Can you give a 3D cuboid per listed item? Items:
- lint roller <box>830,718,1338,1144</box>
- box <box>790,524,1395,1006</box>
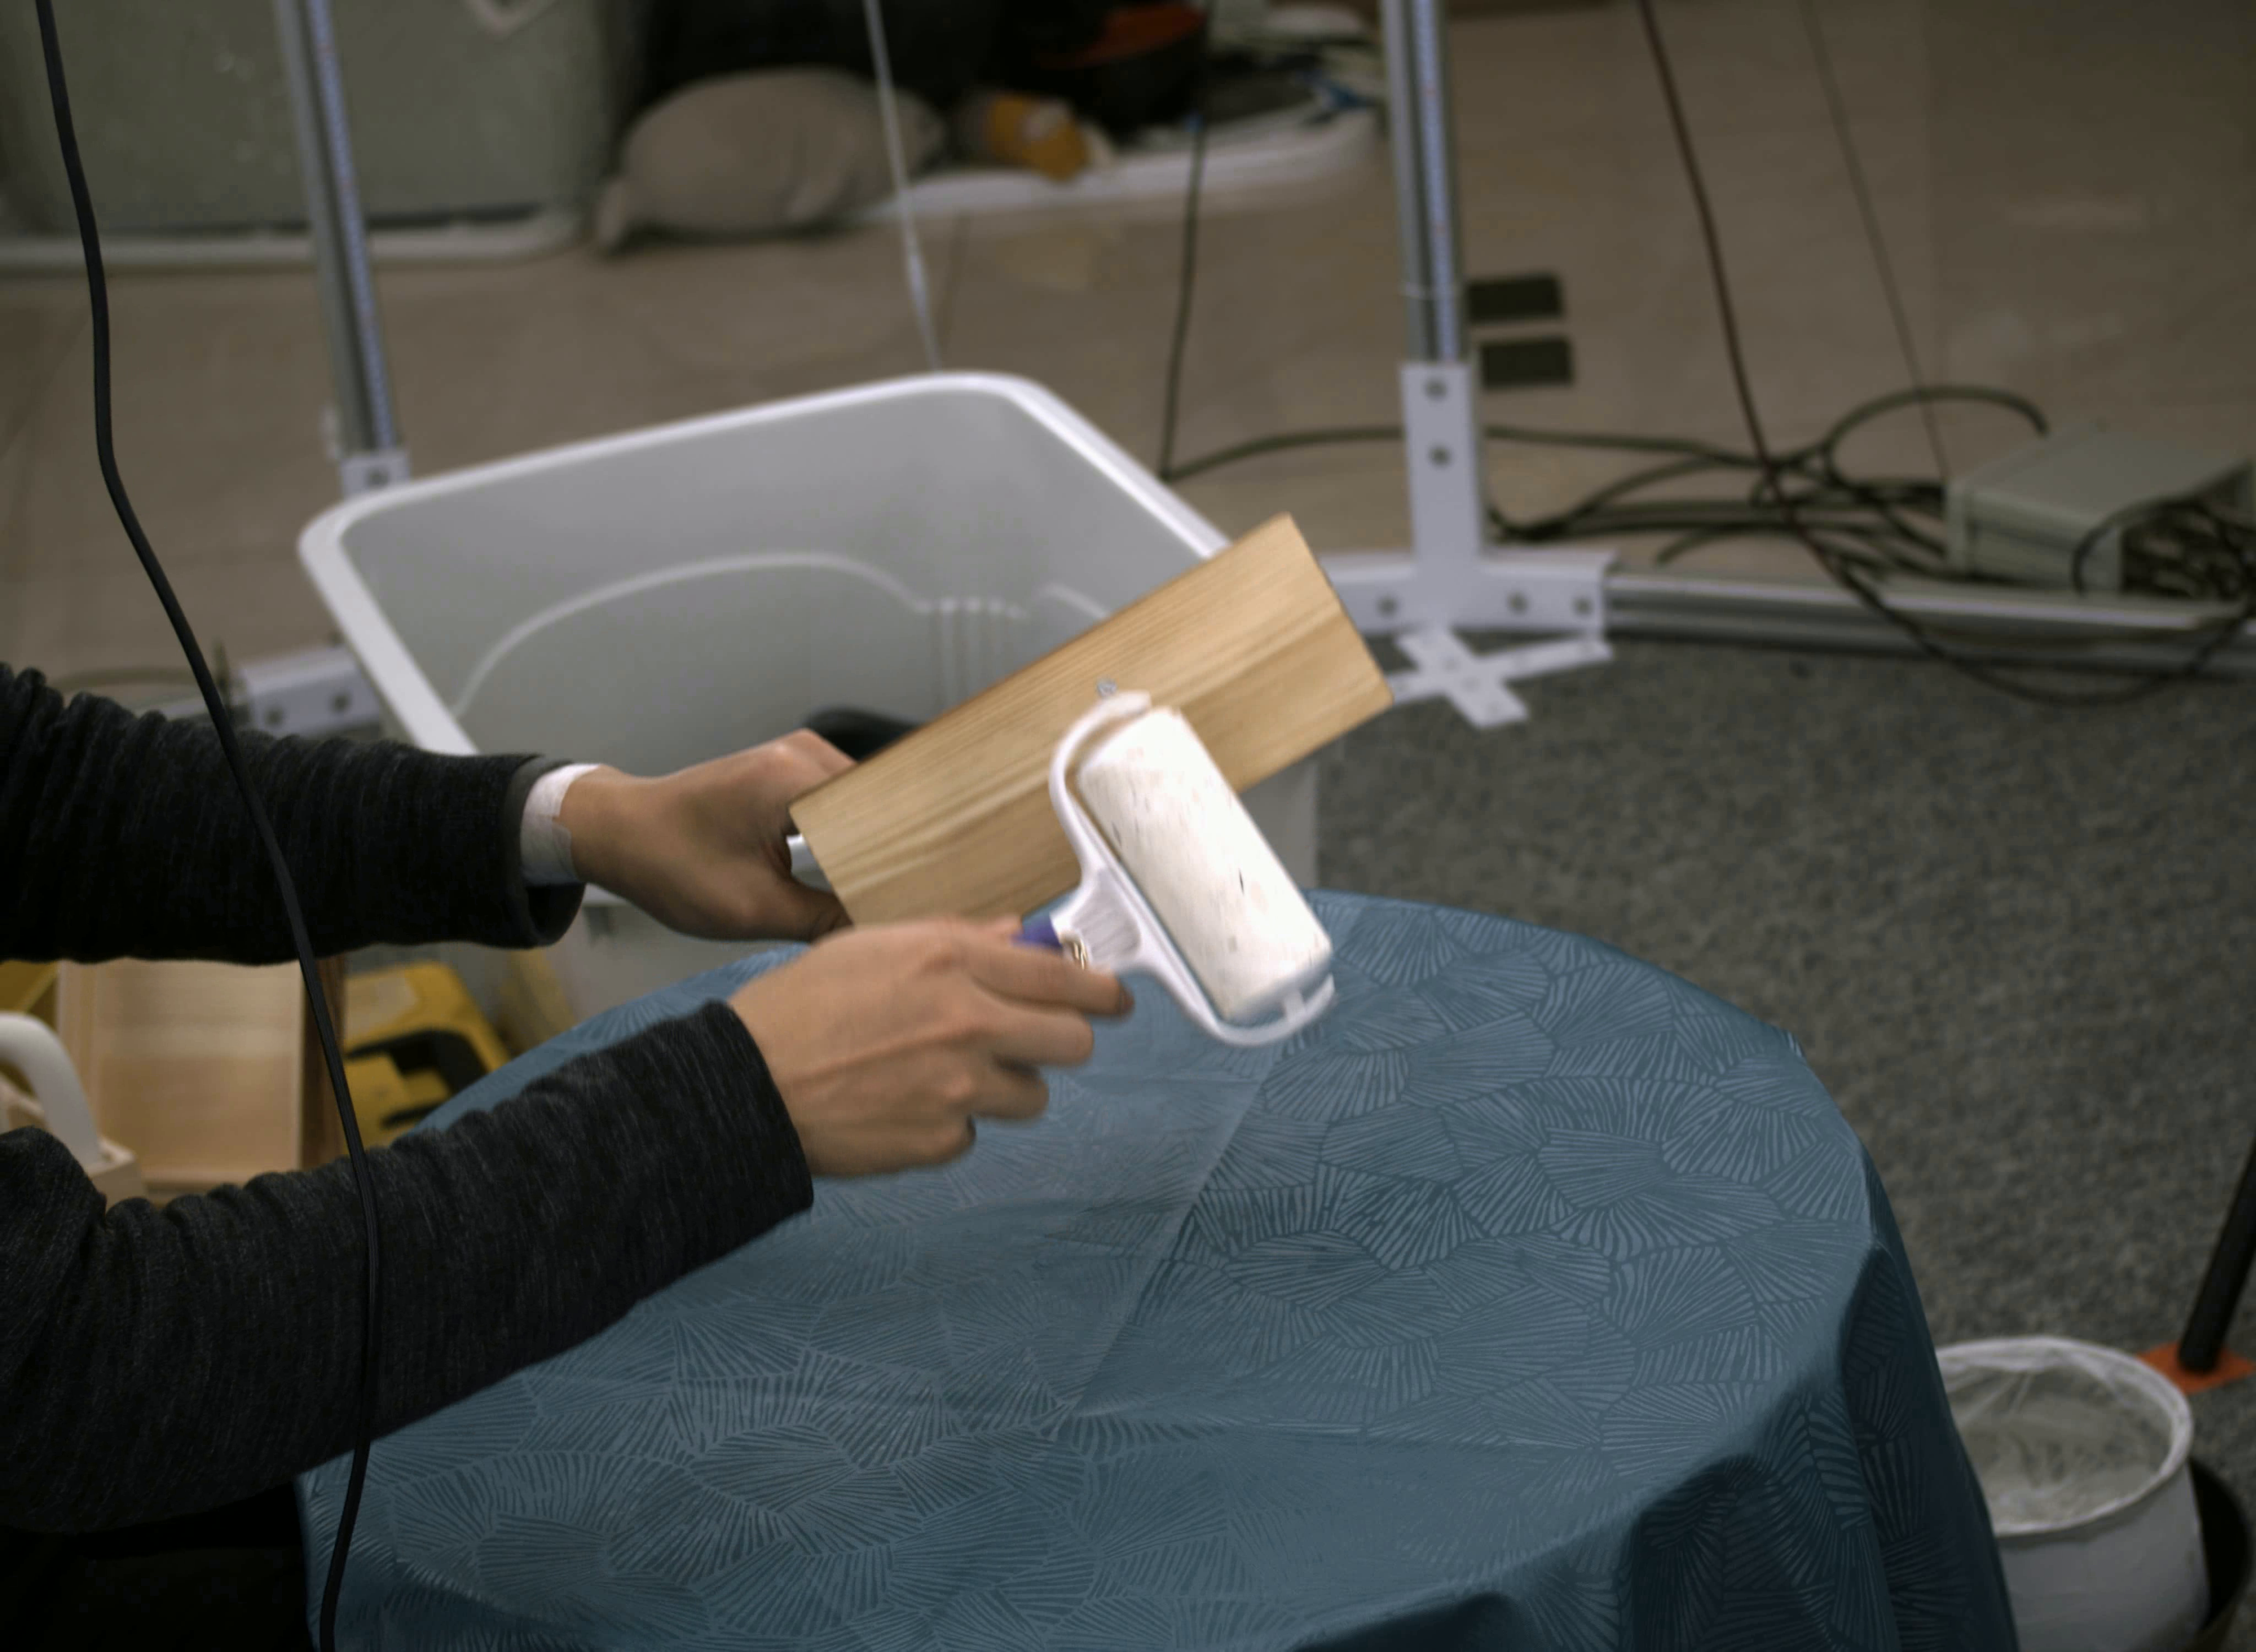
[{"bbox_3d":[-0.026,0.053,1.972,0.179,0.133,0.050,-31,0,-20],"label":"lint roller"},{"bbox_3d":[-0.011,-0.024,2.095,0.211,0.080,0.107,-30,3,4],"label":"box"}]
